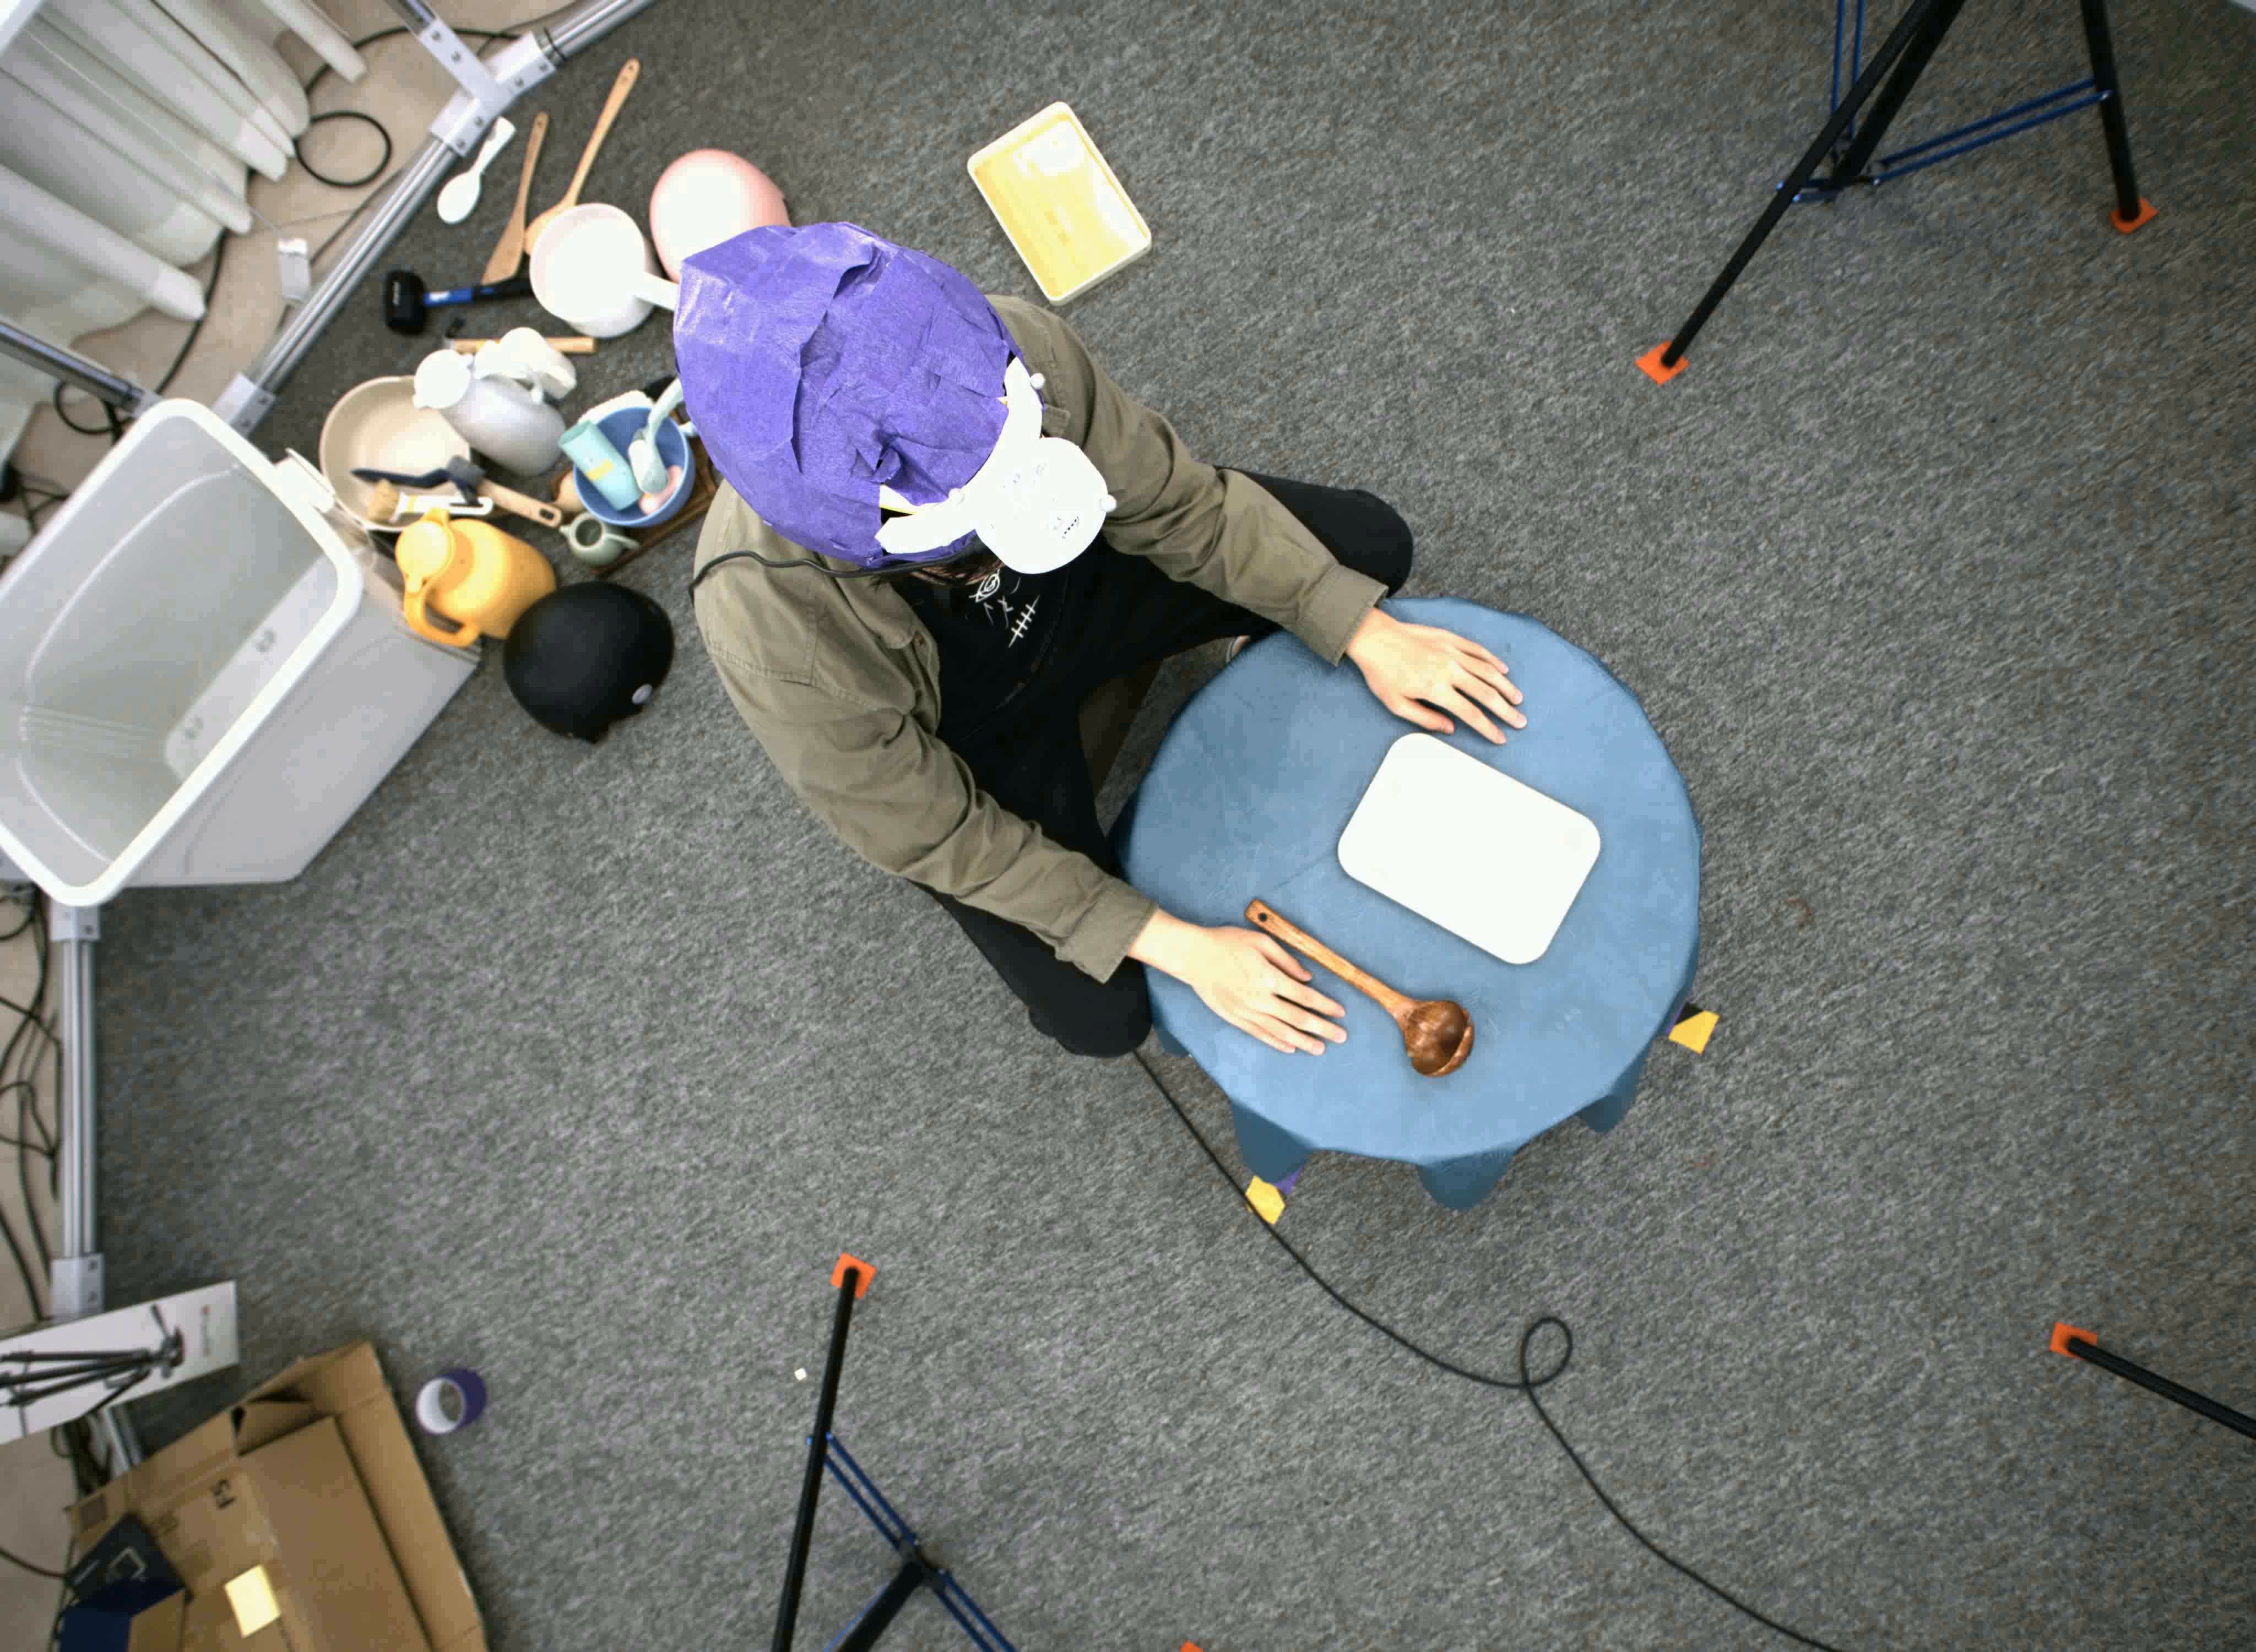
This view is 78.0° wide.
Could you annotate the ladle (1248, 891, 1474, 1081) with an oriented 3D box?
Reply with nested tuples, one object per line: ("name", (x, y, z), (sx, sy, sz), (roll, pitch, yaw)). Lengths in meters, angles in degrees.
("ladle", (0.230, 0.157, 1.414), (0.273, 0.076, 0.082), (36, 97, 10))

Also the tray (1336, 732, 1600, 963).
("tray", (0.351, 0.020, 1.427), (0.239, 0.017, 0.171), (29, 92, 10))
